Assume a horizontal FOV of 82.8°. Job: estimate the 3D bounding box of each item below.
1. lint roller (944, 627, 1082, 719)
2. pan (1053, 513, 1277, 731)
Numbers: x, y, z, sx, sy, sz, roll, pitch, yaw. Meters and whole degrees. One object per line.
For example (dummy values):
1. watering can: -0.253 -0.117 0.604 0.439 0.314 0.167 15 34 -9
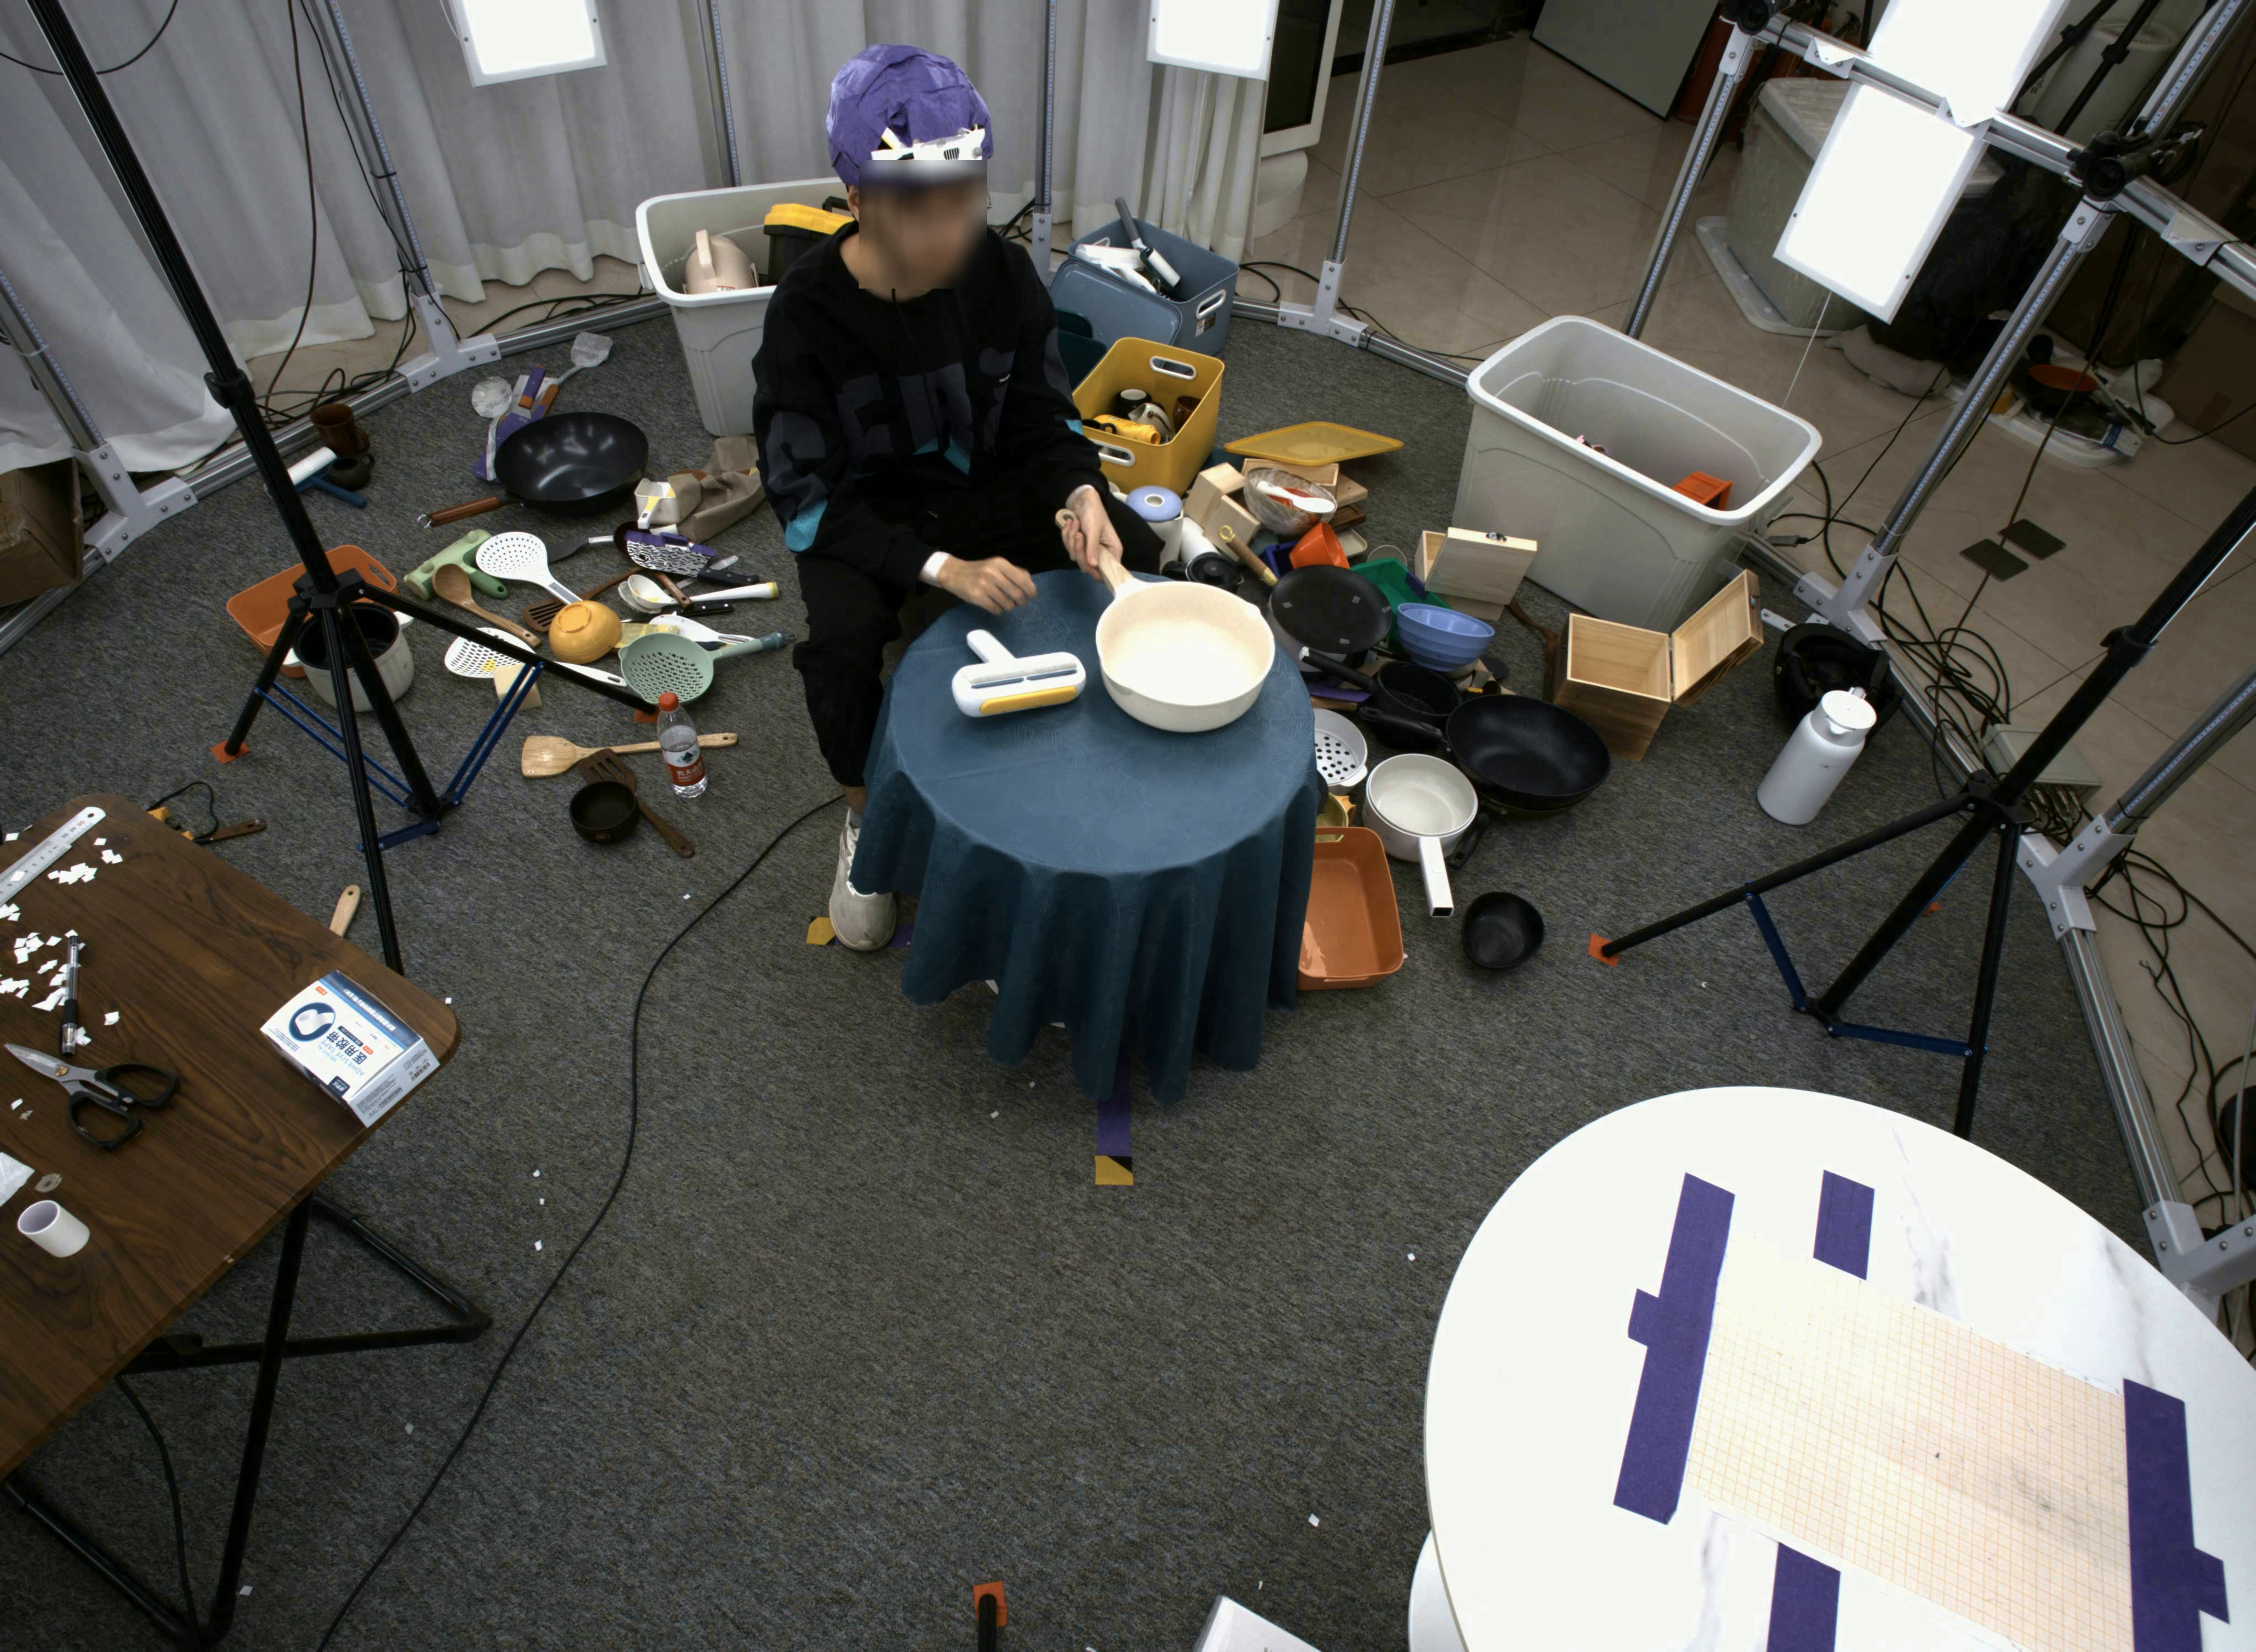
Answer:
1. lint roller: -0.180 -0.231 1.813 0.193 0.072 0.197 -12 49 -20
2. pan: 0.027 -0.301 1.866 0.265 0.099 0.443 -29 57 -23
